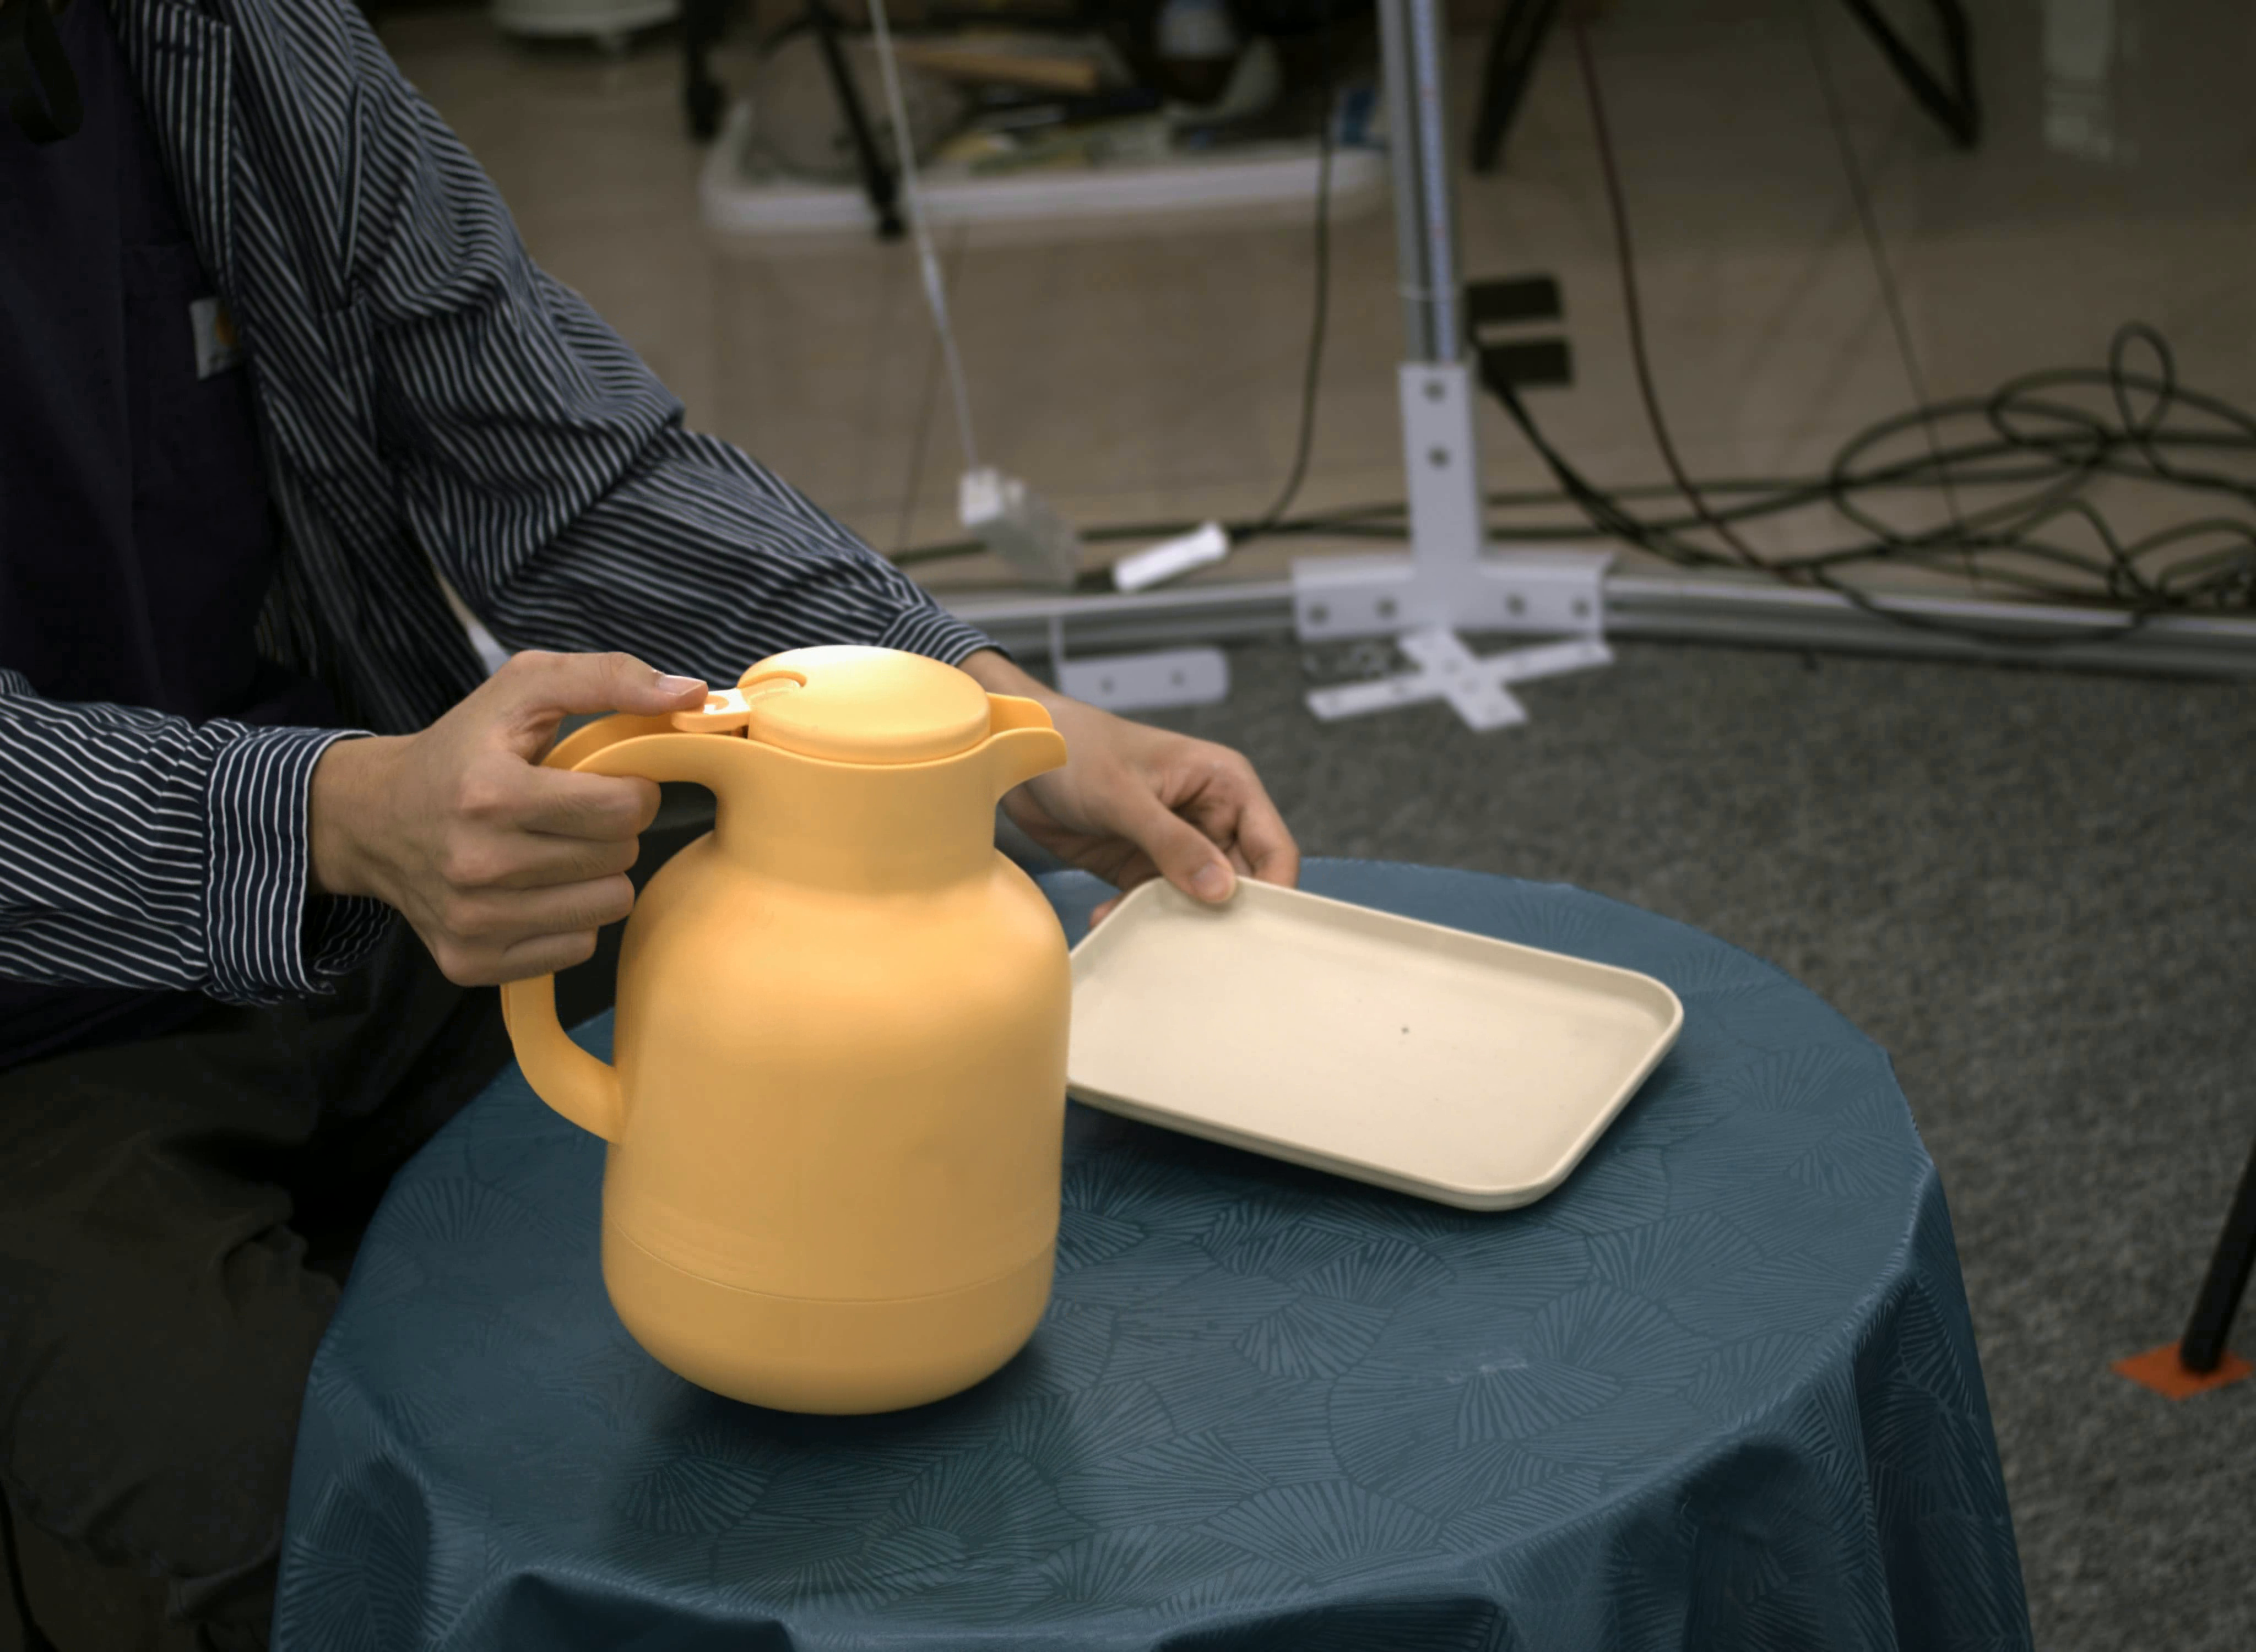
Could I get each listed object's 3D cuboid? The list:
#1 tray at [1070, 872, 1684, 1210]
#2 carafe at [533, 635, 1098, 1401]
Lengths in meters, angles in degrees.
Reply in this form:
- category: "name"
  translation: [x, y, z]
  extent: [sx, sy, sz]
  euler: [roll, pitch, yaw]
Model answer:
- category: "tray"
  translation: [0.082, 0.083, 2.194]
  extent: [0.238, 0.018, 0.169]
  euler: [14, 33, 24]
- category: "carafe"
  translation: [-0.111, 0.064, 2.007]
  extent: [0.202, 0.264, 0.161]
  euler: [-2, 24, -17]
